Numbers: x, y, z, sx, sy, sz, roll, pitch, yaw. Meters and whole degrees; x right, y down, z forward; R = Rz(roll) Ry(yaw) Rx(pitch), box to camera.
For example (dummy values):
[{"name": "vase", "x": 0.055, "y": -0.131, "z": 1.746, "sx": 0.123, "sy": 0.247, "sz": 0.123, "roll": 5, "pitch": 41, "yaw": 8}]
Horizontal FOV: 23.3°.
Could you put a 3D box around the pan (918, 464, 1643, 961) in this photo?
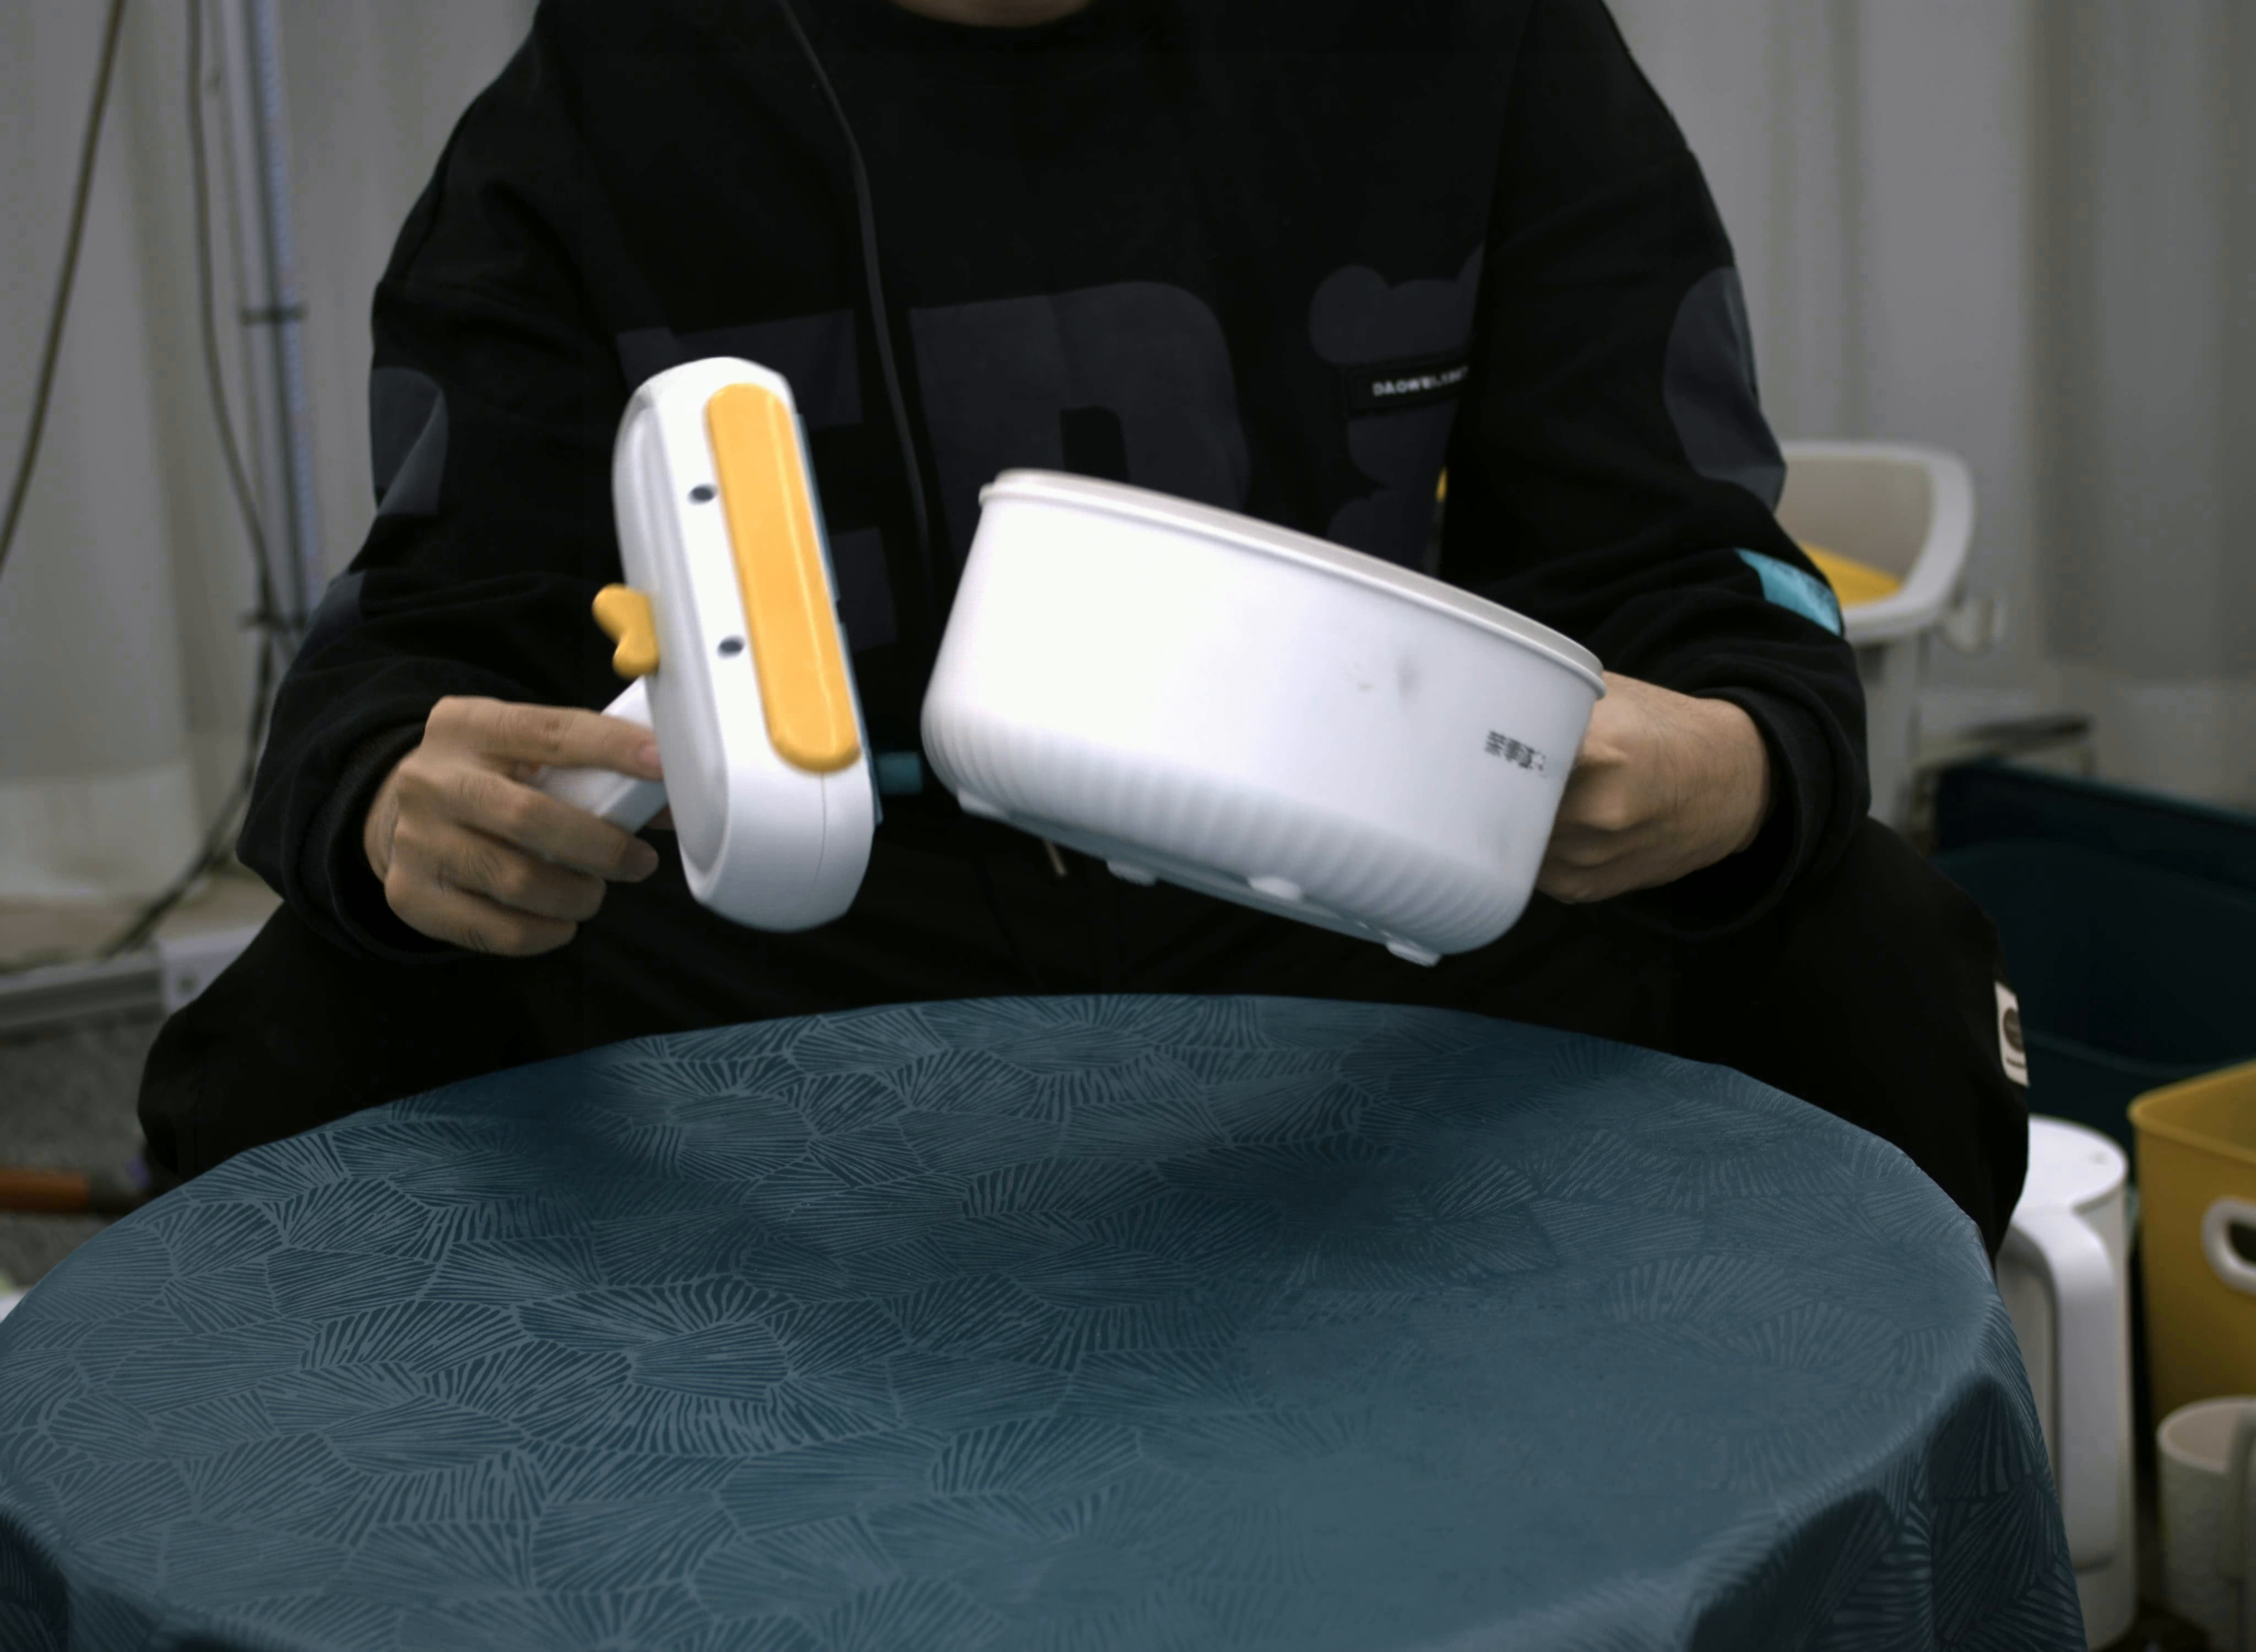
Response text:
[{"name": "pan", "x": 0.069, "y": -0.015, "z": 1.735, "sx": 0.202, "sy": 0.102, "sz": 0.351, "roll": 16, "pitch": -5, "yaw": 29}]

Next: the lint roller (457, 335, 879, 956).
[{"name": "lint roller", "x": -0.149, "y": -0.029, "z": 1.701, "sx": 0.073, "sy": 0.191, "sz": 0.196, "roll": 5, "pitch": 48, "yaw": -31}]
